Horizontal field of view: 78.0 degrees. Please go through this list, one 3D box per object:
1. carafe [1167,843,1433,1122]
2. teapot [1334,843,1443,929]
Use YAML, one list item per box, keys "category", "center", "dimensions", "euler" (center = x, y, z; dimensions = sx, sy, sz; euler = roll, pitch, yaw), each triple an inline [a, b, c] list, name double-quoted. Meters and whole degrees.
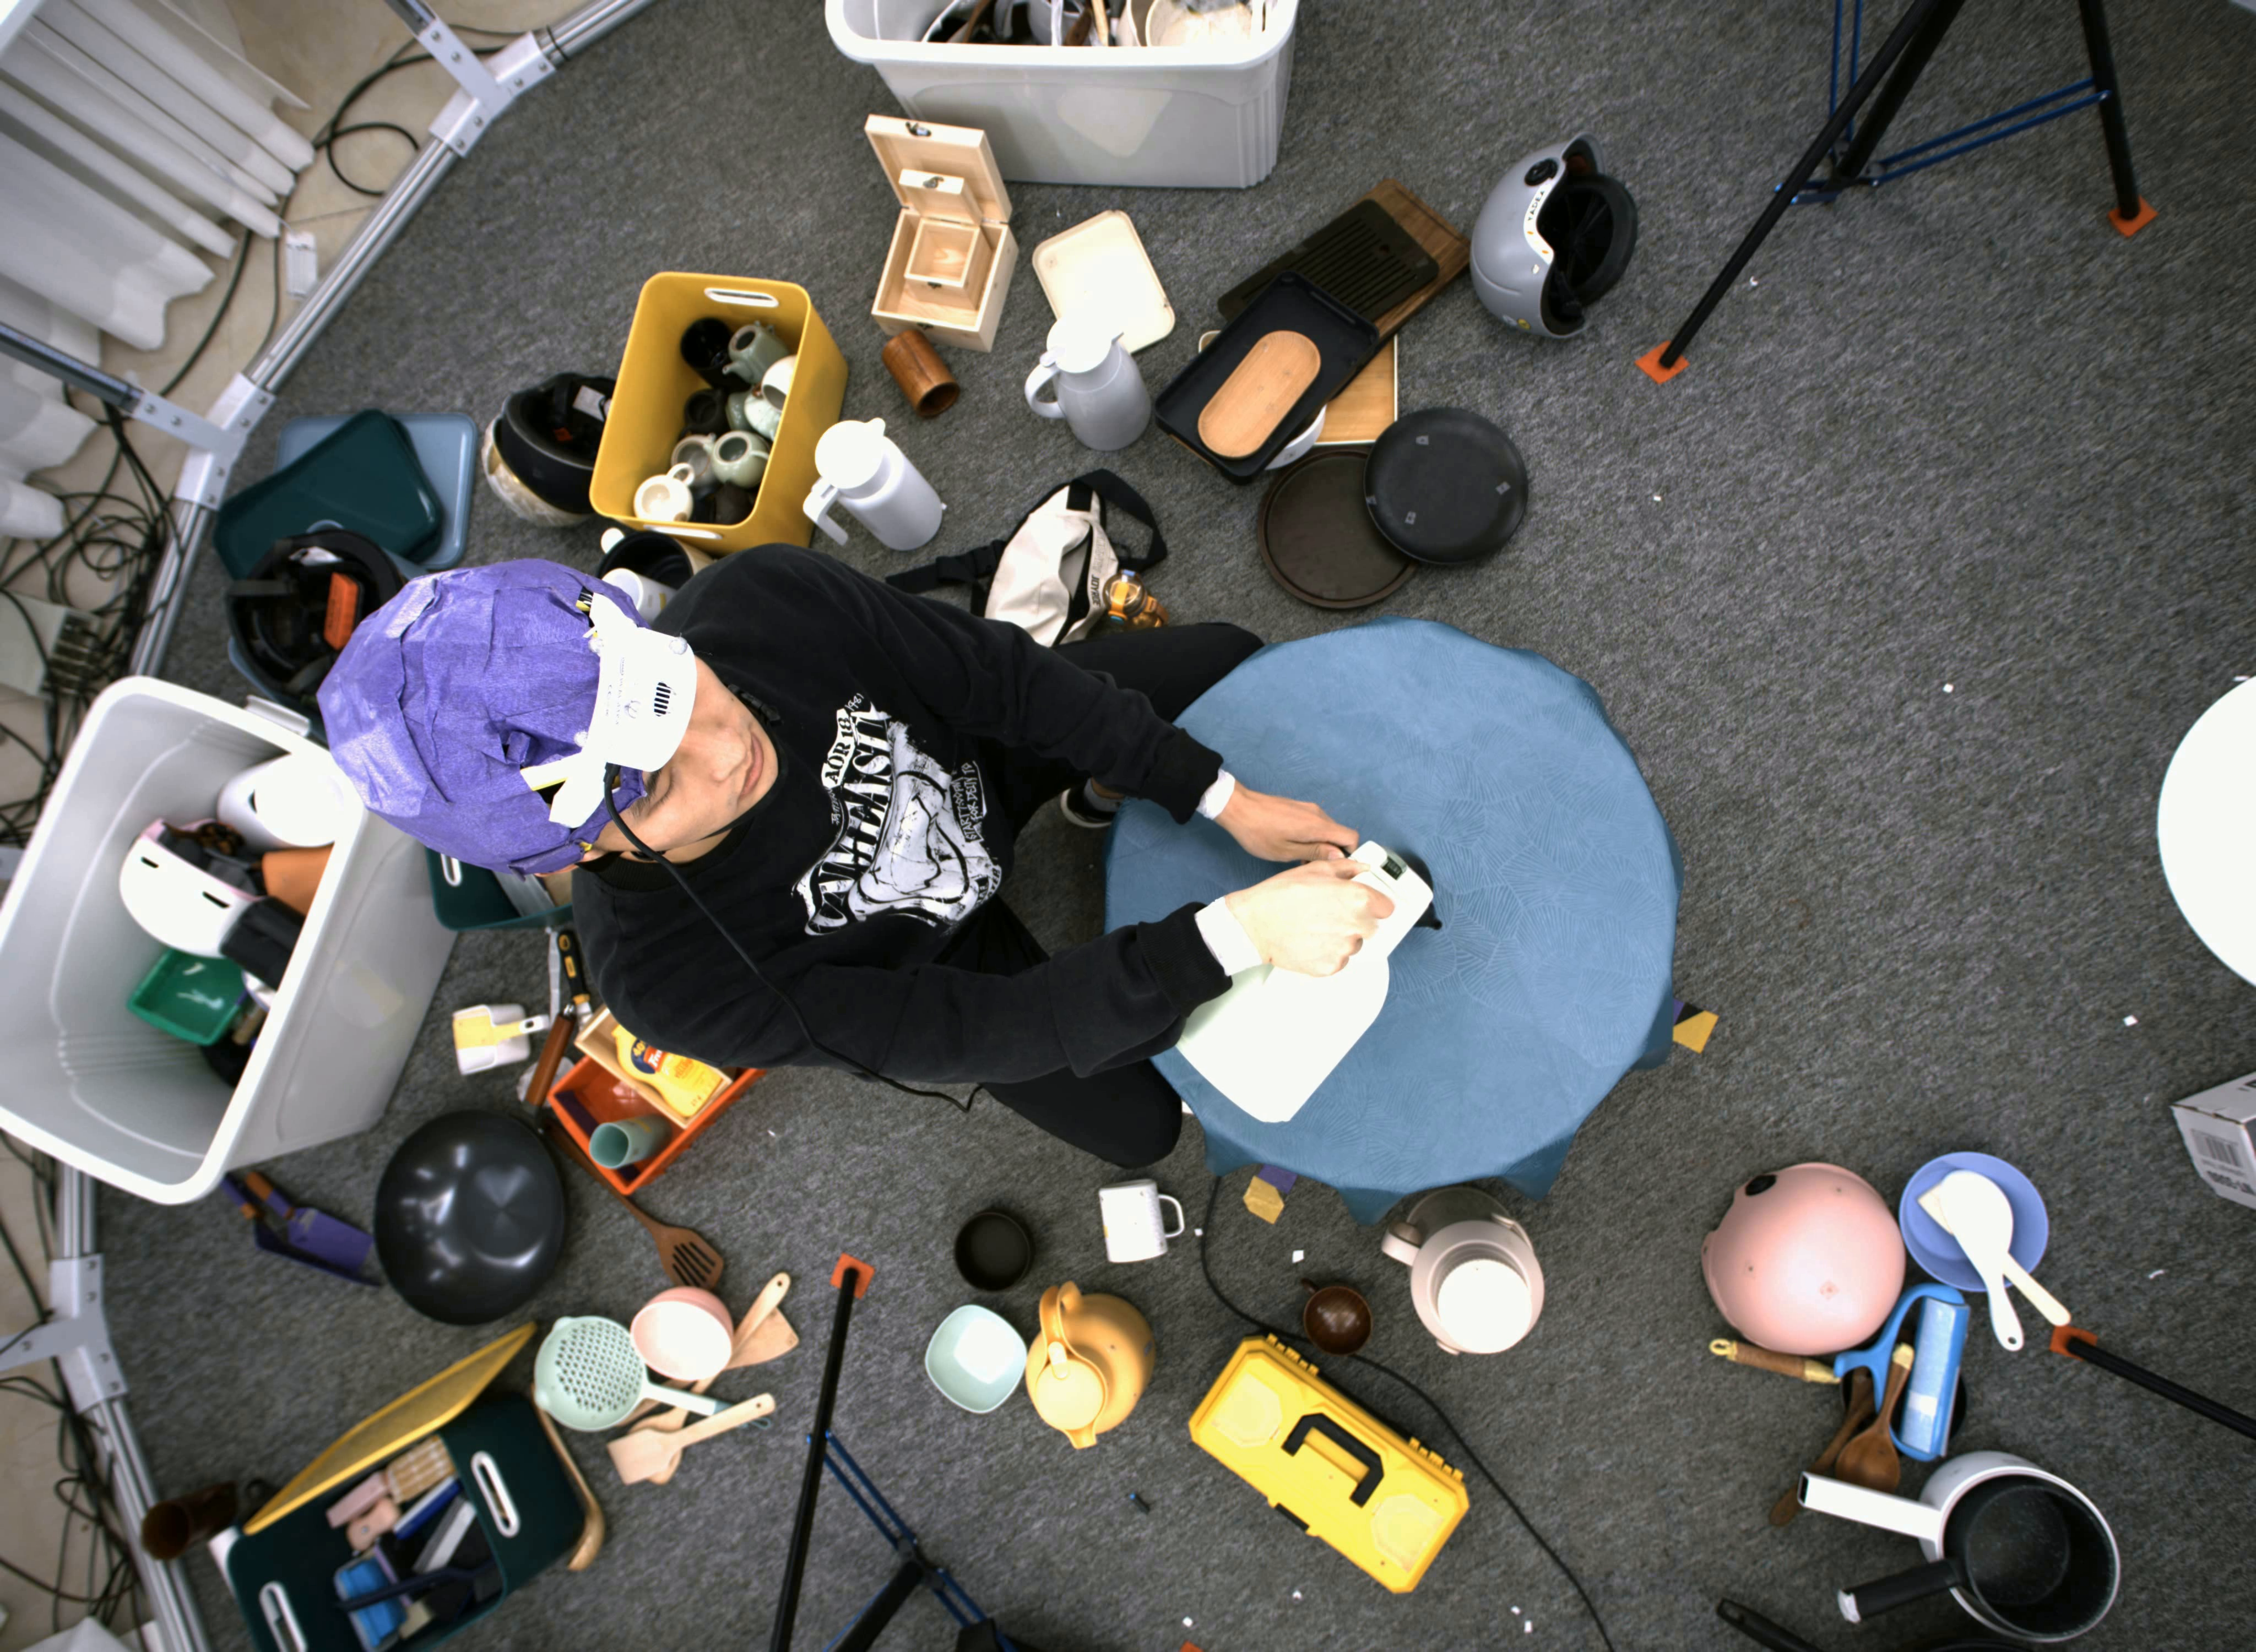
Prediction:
- category: "carafe"
  center: [0.159, 0.129, 1.230]
  dimensions: [0.143, 0.187, 0.258]
  euler: [43, 98, 18]
- category: "teapot"
  center: [0.265, 0.060, 1.404]
  dimensions: [0.133, 0.053, 0.091]
  euler: [37, 94, 11]
